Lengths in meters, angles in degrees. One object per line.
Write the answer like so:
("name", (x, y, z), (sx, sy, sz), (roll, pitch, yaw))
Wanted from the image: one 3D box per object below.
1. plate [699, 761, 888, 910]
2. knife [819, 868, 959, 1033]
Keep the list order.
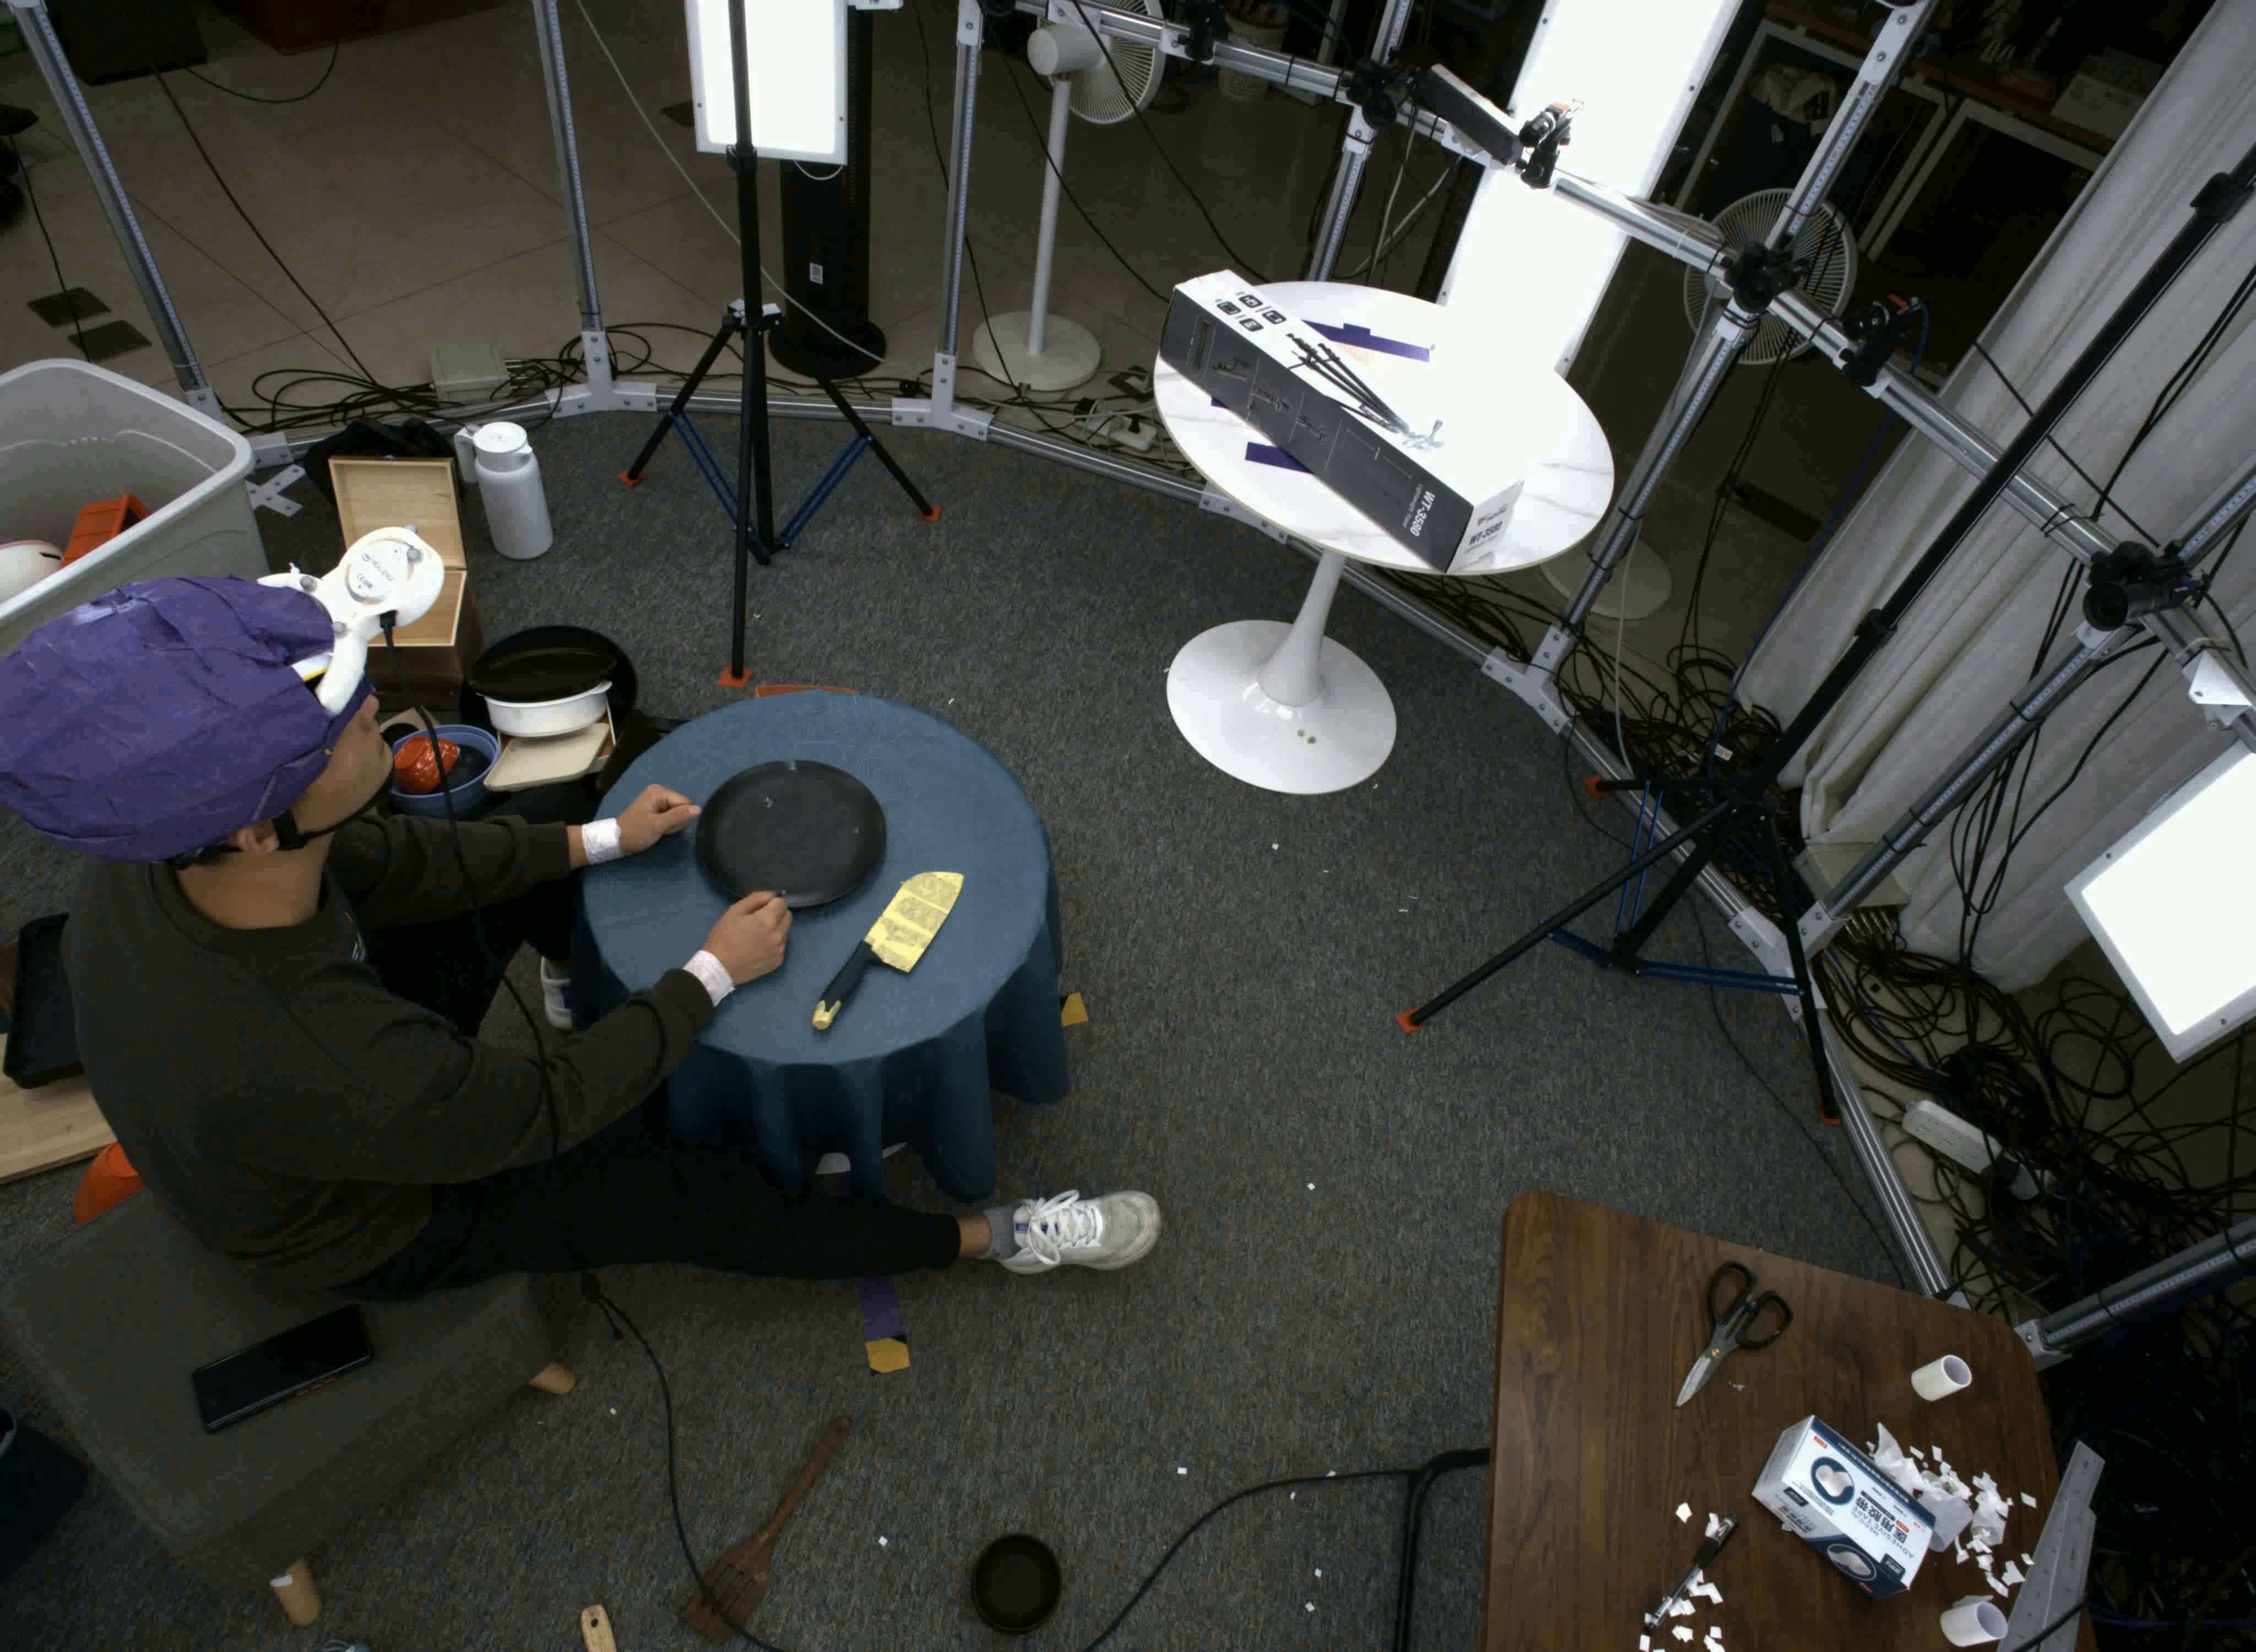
("plate", (-0.439, 0.012, 1.707), (0.244, 0.024, 0.240), (8, 53, -9))
("knife", (-0.298, 0.151, 1.646), (0.080, 0.028, 0.288), (26, 51, 8))
